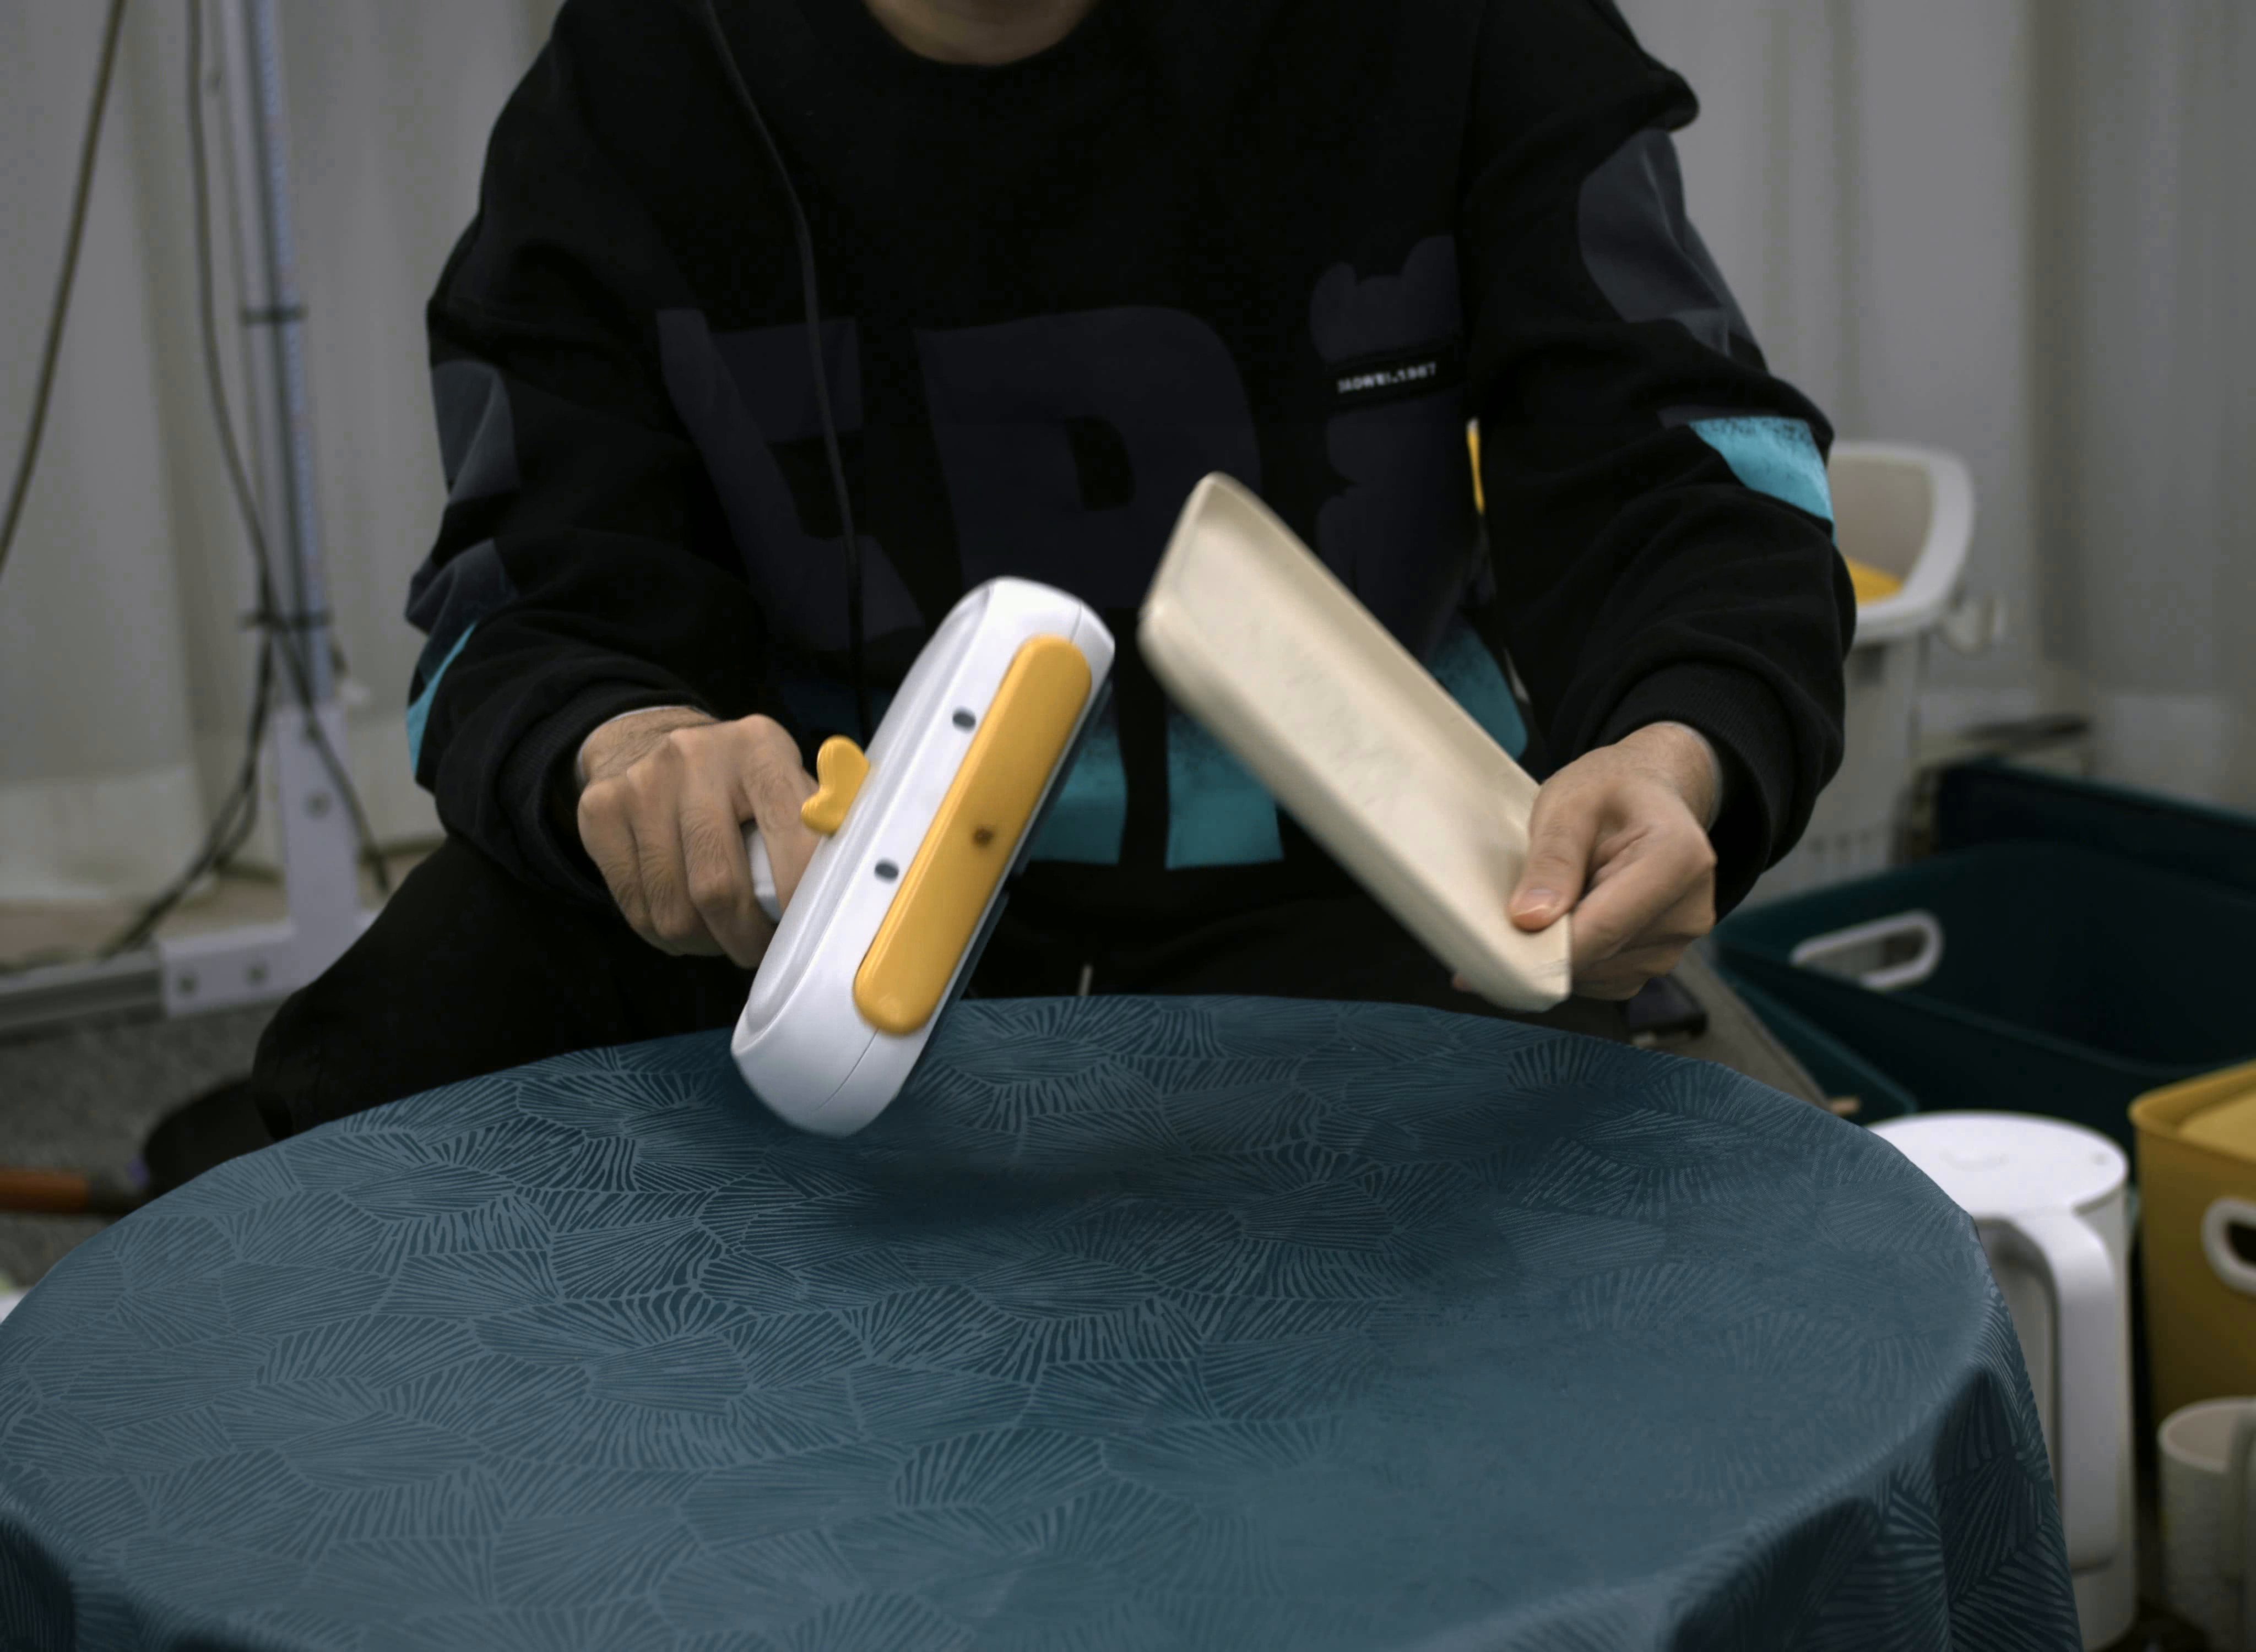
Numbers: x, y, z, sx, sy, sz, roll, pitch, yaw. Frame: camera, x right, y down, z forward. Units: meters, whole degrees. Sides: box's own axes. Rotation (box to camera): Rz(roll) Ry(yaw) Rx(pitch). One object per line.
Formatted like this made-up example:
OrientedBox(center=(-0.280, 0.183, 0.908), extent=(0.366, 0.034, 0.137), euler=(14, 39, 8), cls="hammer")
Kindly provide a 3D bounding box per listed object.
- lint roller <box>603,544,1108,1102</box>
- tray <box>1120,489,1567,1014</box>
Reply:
OrientedBox(center=(-0.099, 0.007, 1.763), extent=(0.073, 0.195, 0.192), euler=(31, -29, -24), cls="lint roller")
OrientedBox(center=(0.067, -0.024, 1.677), extent=(0.171, 0.017, 0.241), euler=(43, 14, -5), cls="tray")
